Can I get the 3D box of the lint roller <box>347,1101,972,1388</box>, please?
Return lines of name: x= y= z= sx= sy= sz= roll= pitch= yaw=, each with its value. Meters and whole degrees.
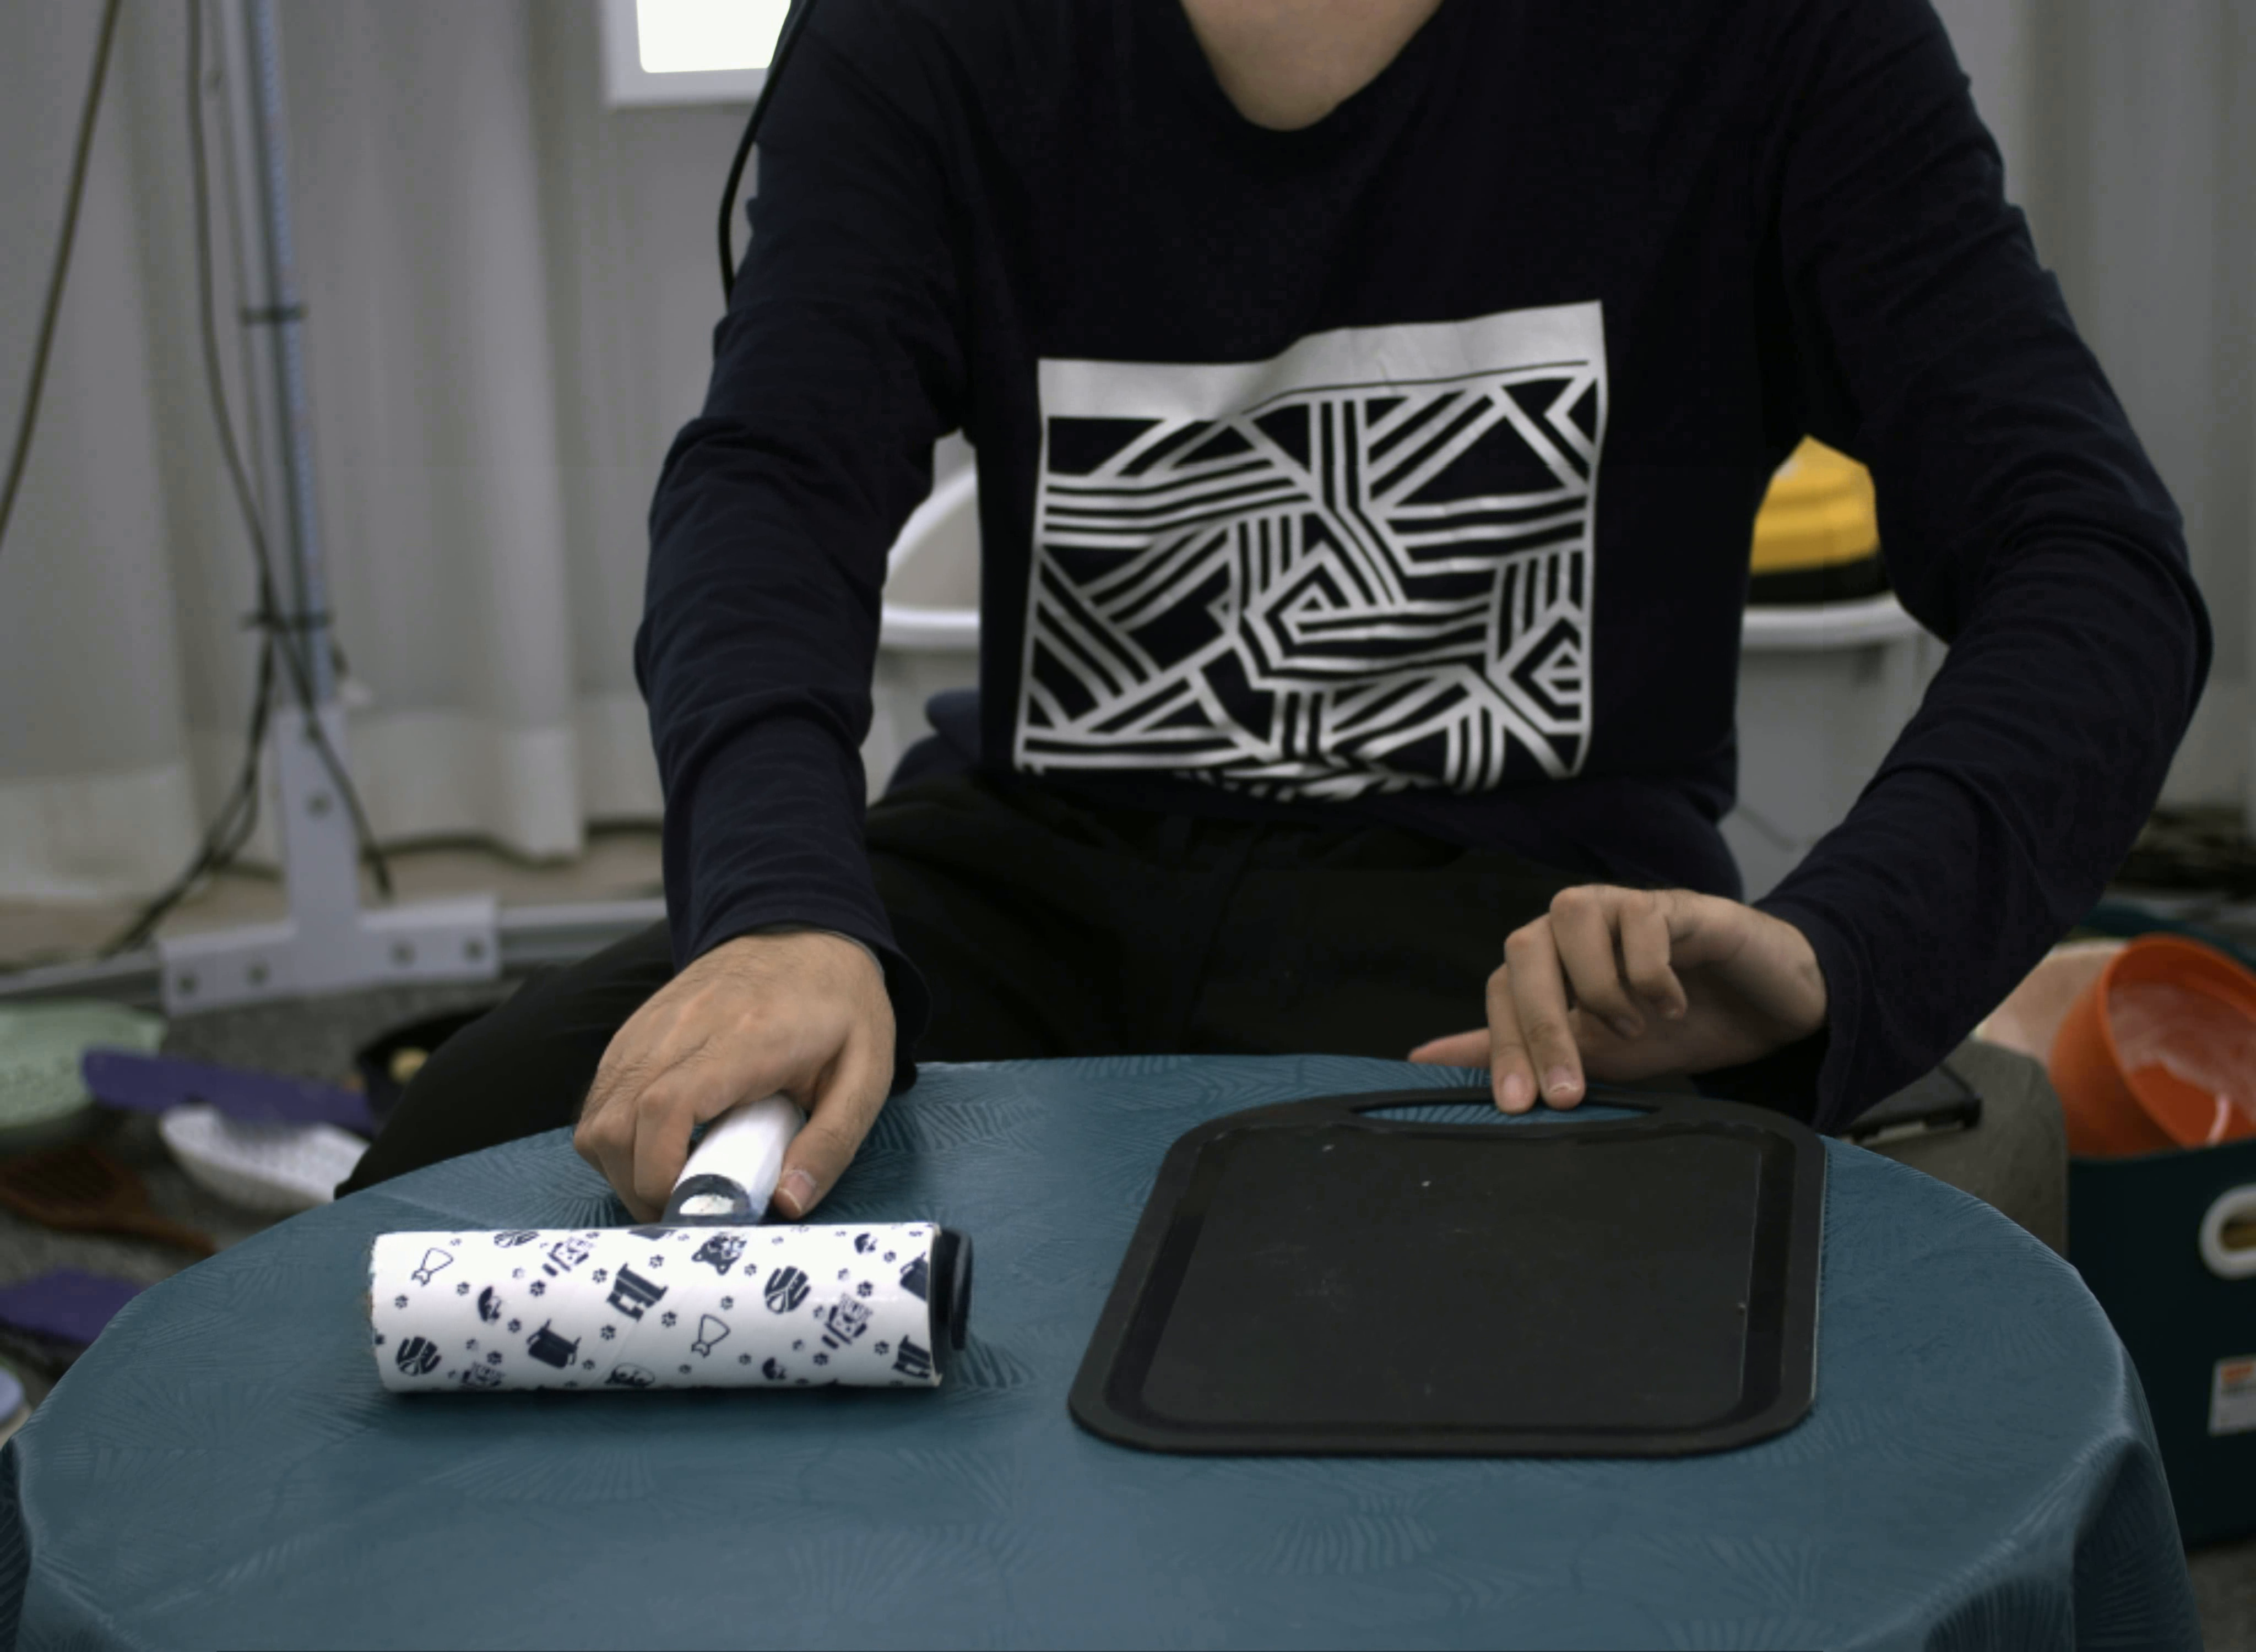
lint roller: x=-0.127 y=0.116 z=1.661 sx=0.176 sy=0.050 sz=0.248 roll=-2 pitch=12 yaw=5

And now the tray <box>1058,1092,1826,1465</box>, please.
tray: x=0.100 y=0.129 z=1.635 sx=0.211 sy=0.010 sz=0.327 roll=0 pitch=15 yaw=9
